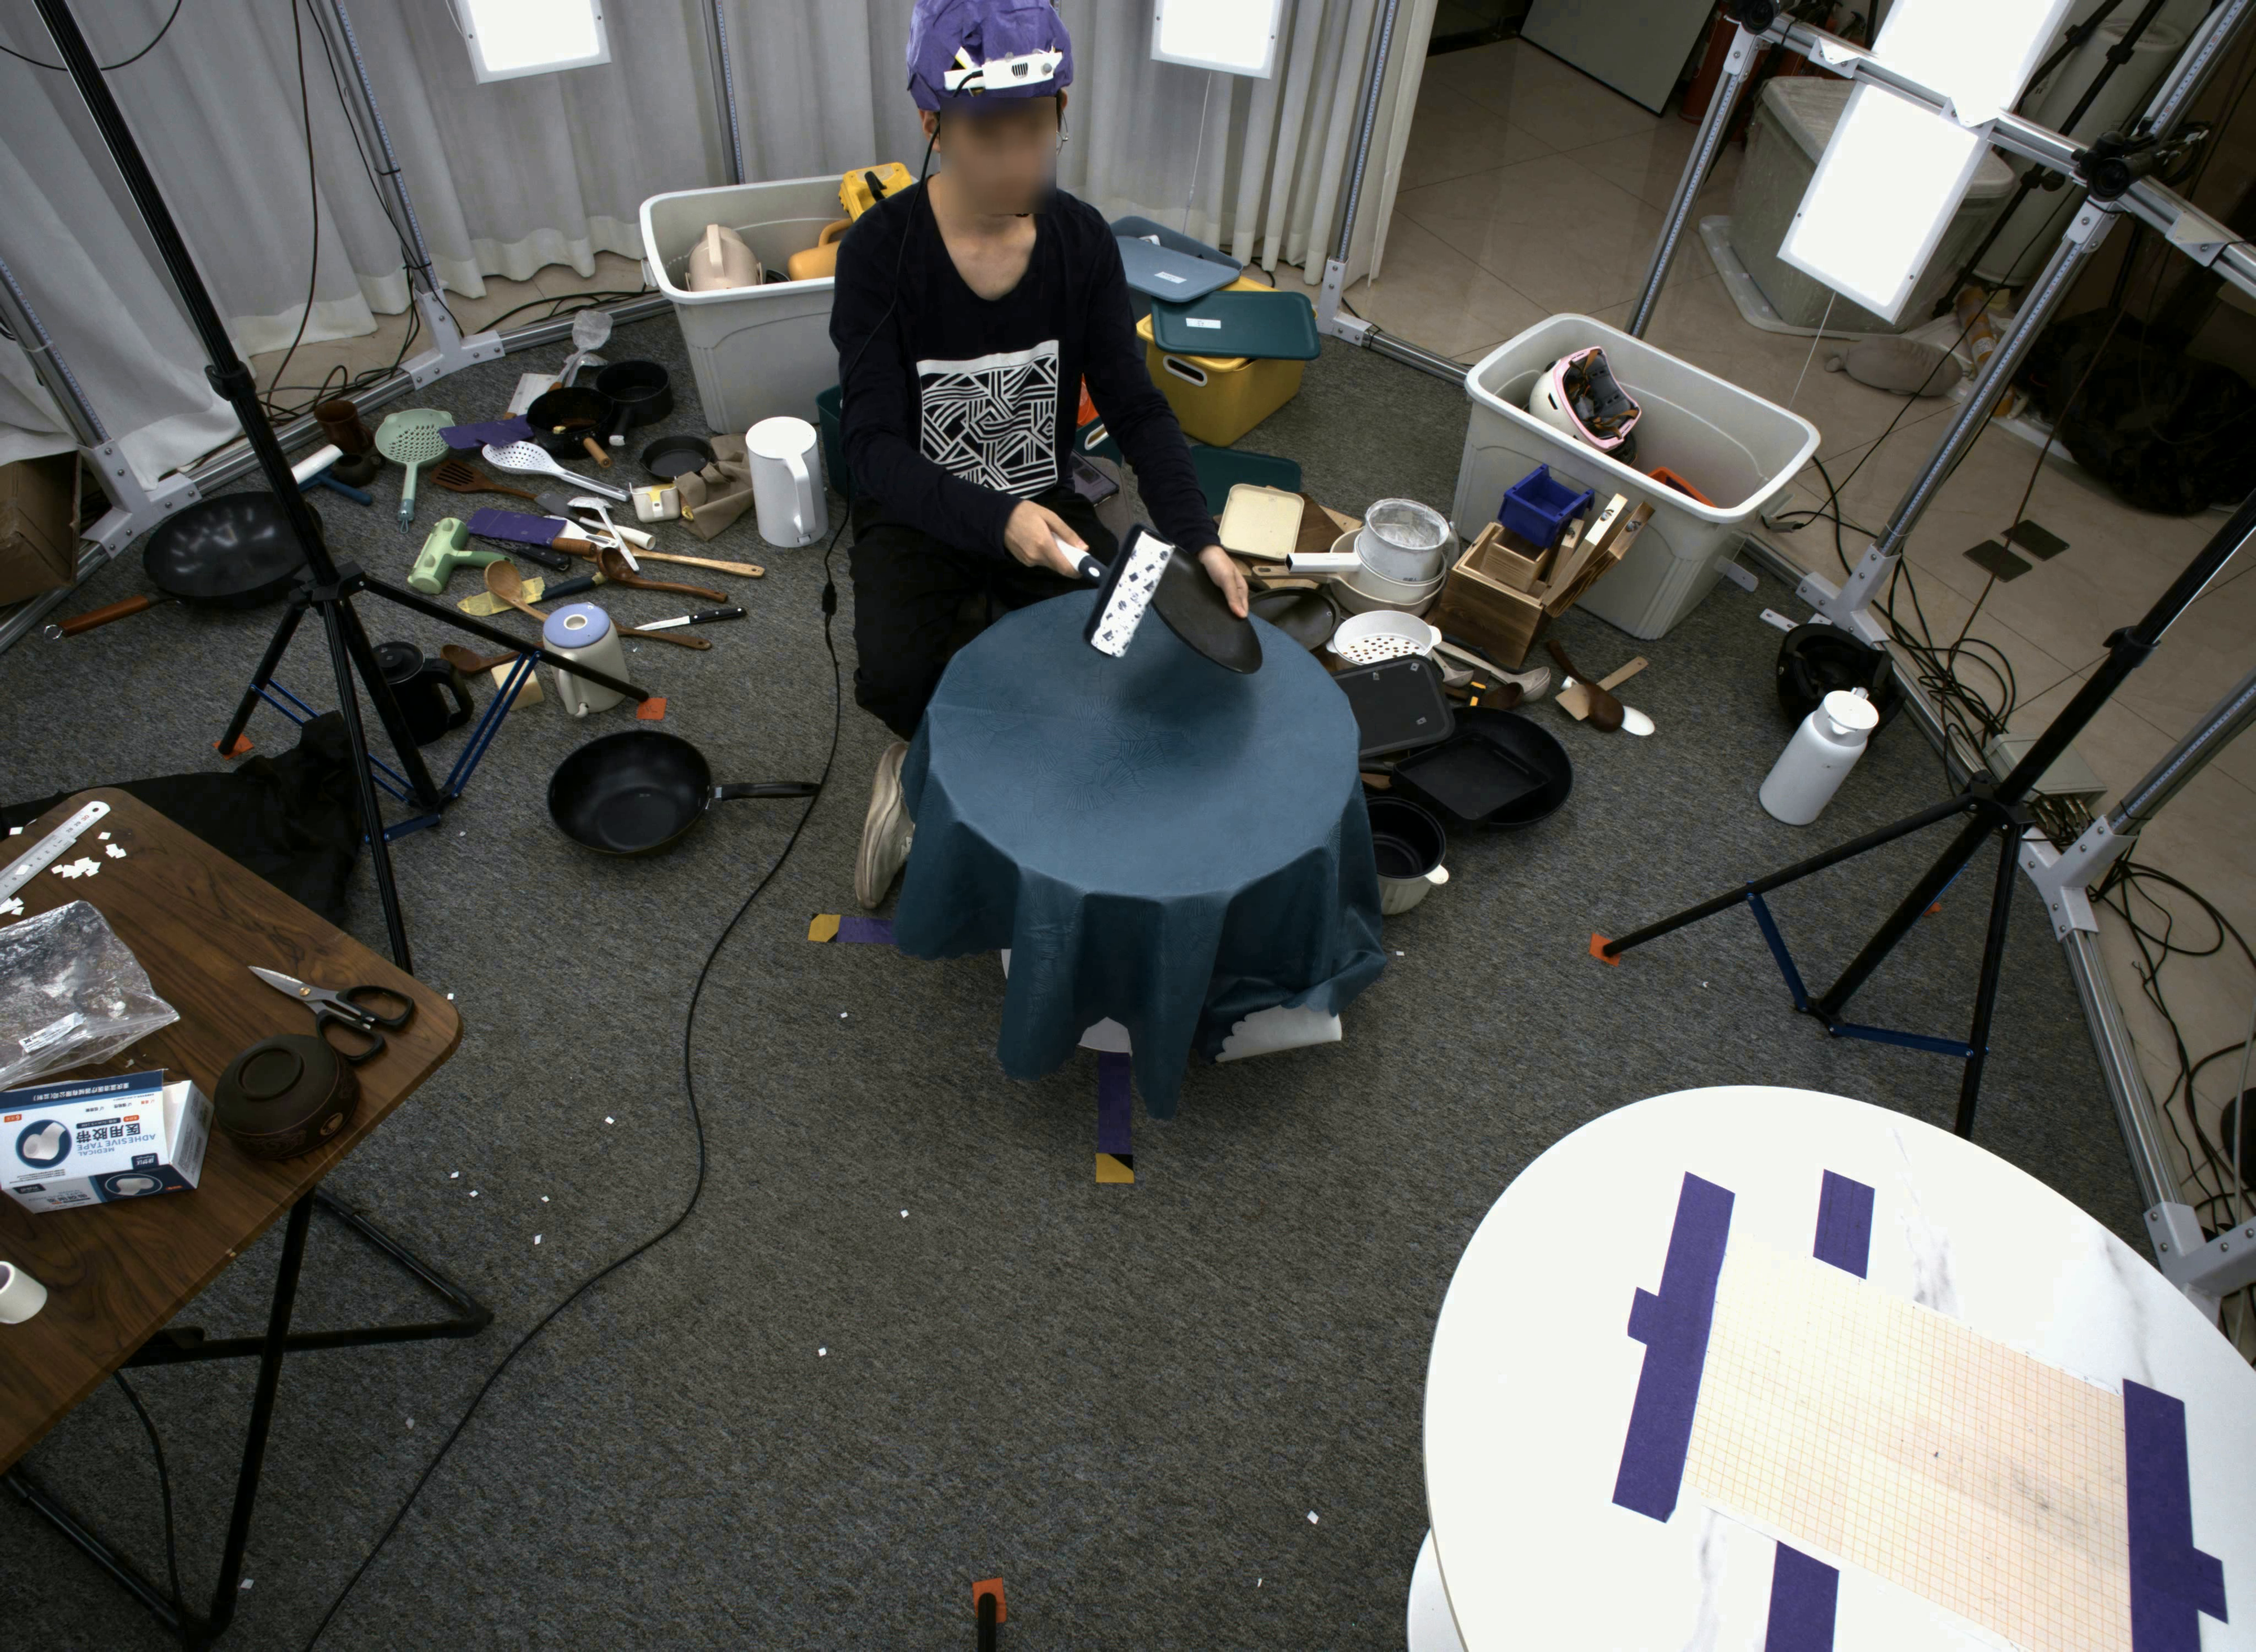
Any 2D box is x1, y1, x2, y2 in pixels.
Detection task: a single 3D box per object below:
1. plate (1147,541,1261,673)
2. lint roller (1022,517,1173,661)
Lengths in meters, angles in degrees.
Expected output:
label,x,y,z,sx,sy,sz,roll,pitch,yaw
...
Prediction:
label,x,y,z,sx,sy,sz,roll,pitch,yaw
plate,0.090,-0.303,1.777,0.241,0.023,0.250,32,34,-25
lint roller,-0.064,-0.351,1.711,0.251,0.174,0.050,37,21,31
